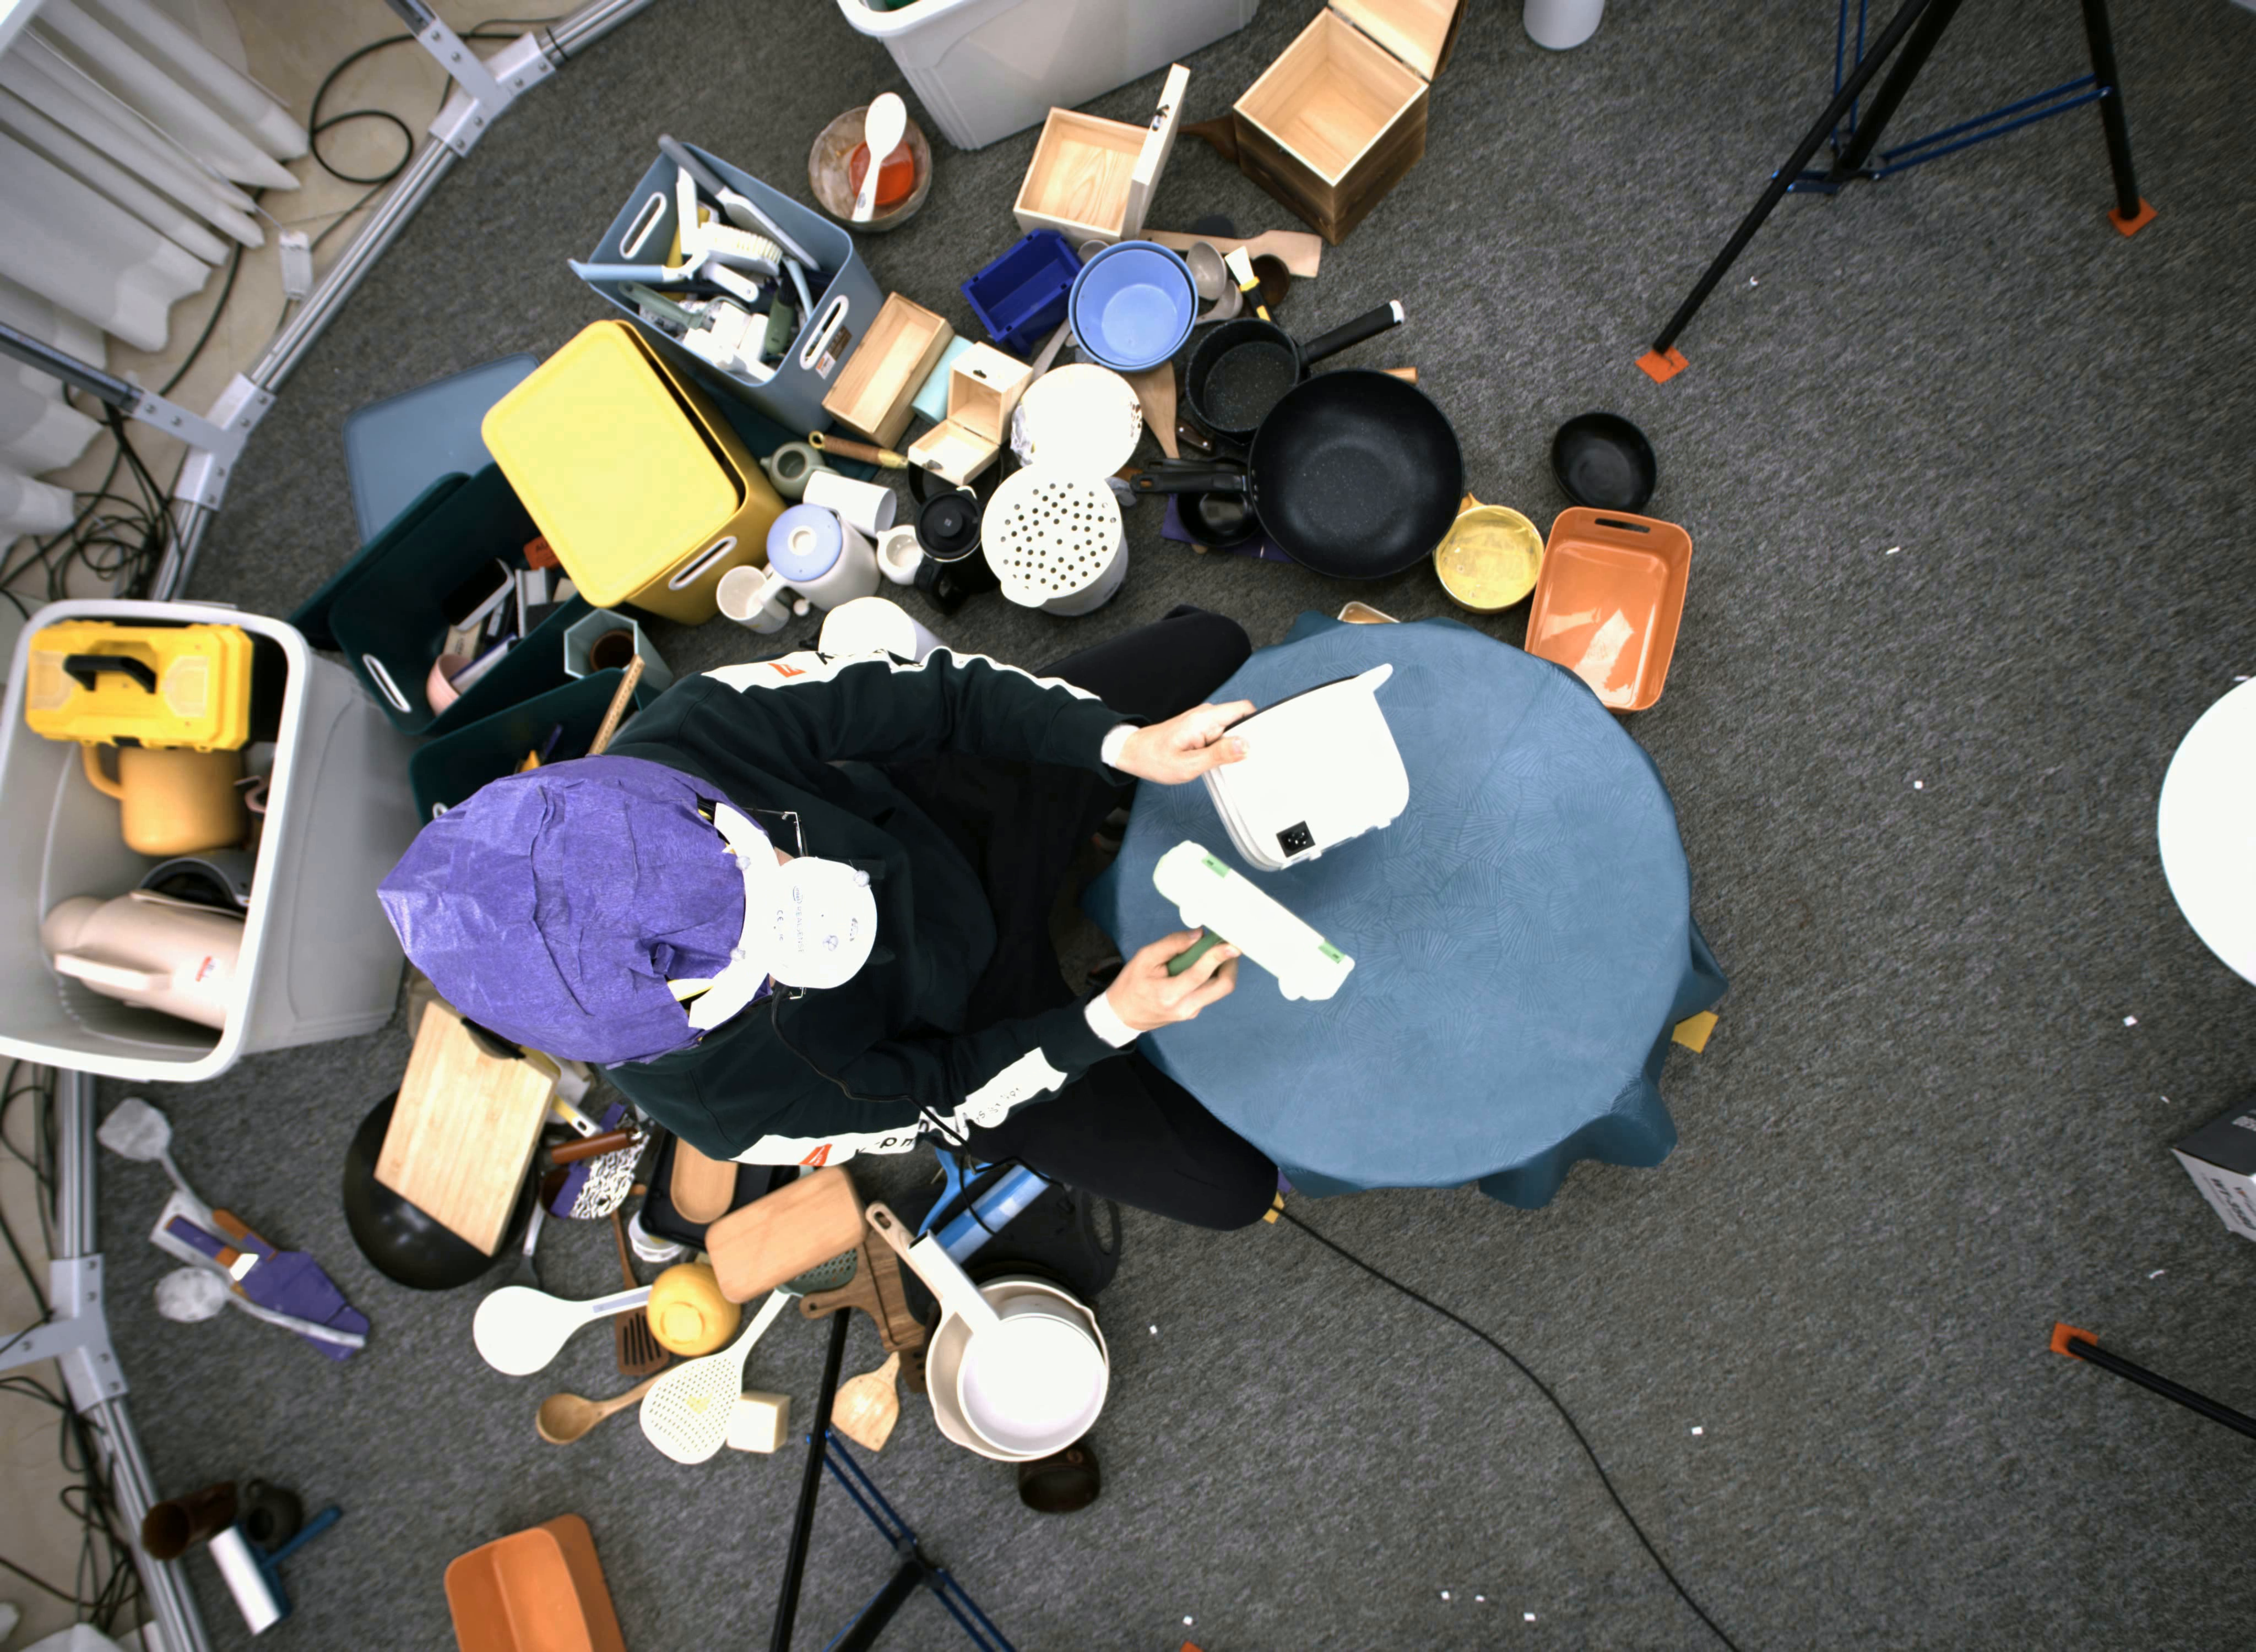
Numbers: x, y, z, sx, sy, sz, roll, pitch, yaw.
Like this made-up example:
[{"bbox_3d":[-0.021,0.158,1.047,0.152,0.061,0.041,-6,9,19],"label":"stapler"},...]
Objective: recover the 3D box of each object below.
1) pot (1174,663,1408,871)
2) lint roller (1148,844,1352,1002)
[{"bbox_3d":[0.169,-0.045,1.306,0.244,0.188,0.142,-25,87,29],"label":"pot"},{"bbox_3d":[0.076,0.125,1.277,0.199,0.080,0.187,35,123,-16],"label":"lint roller"}]
